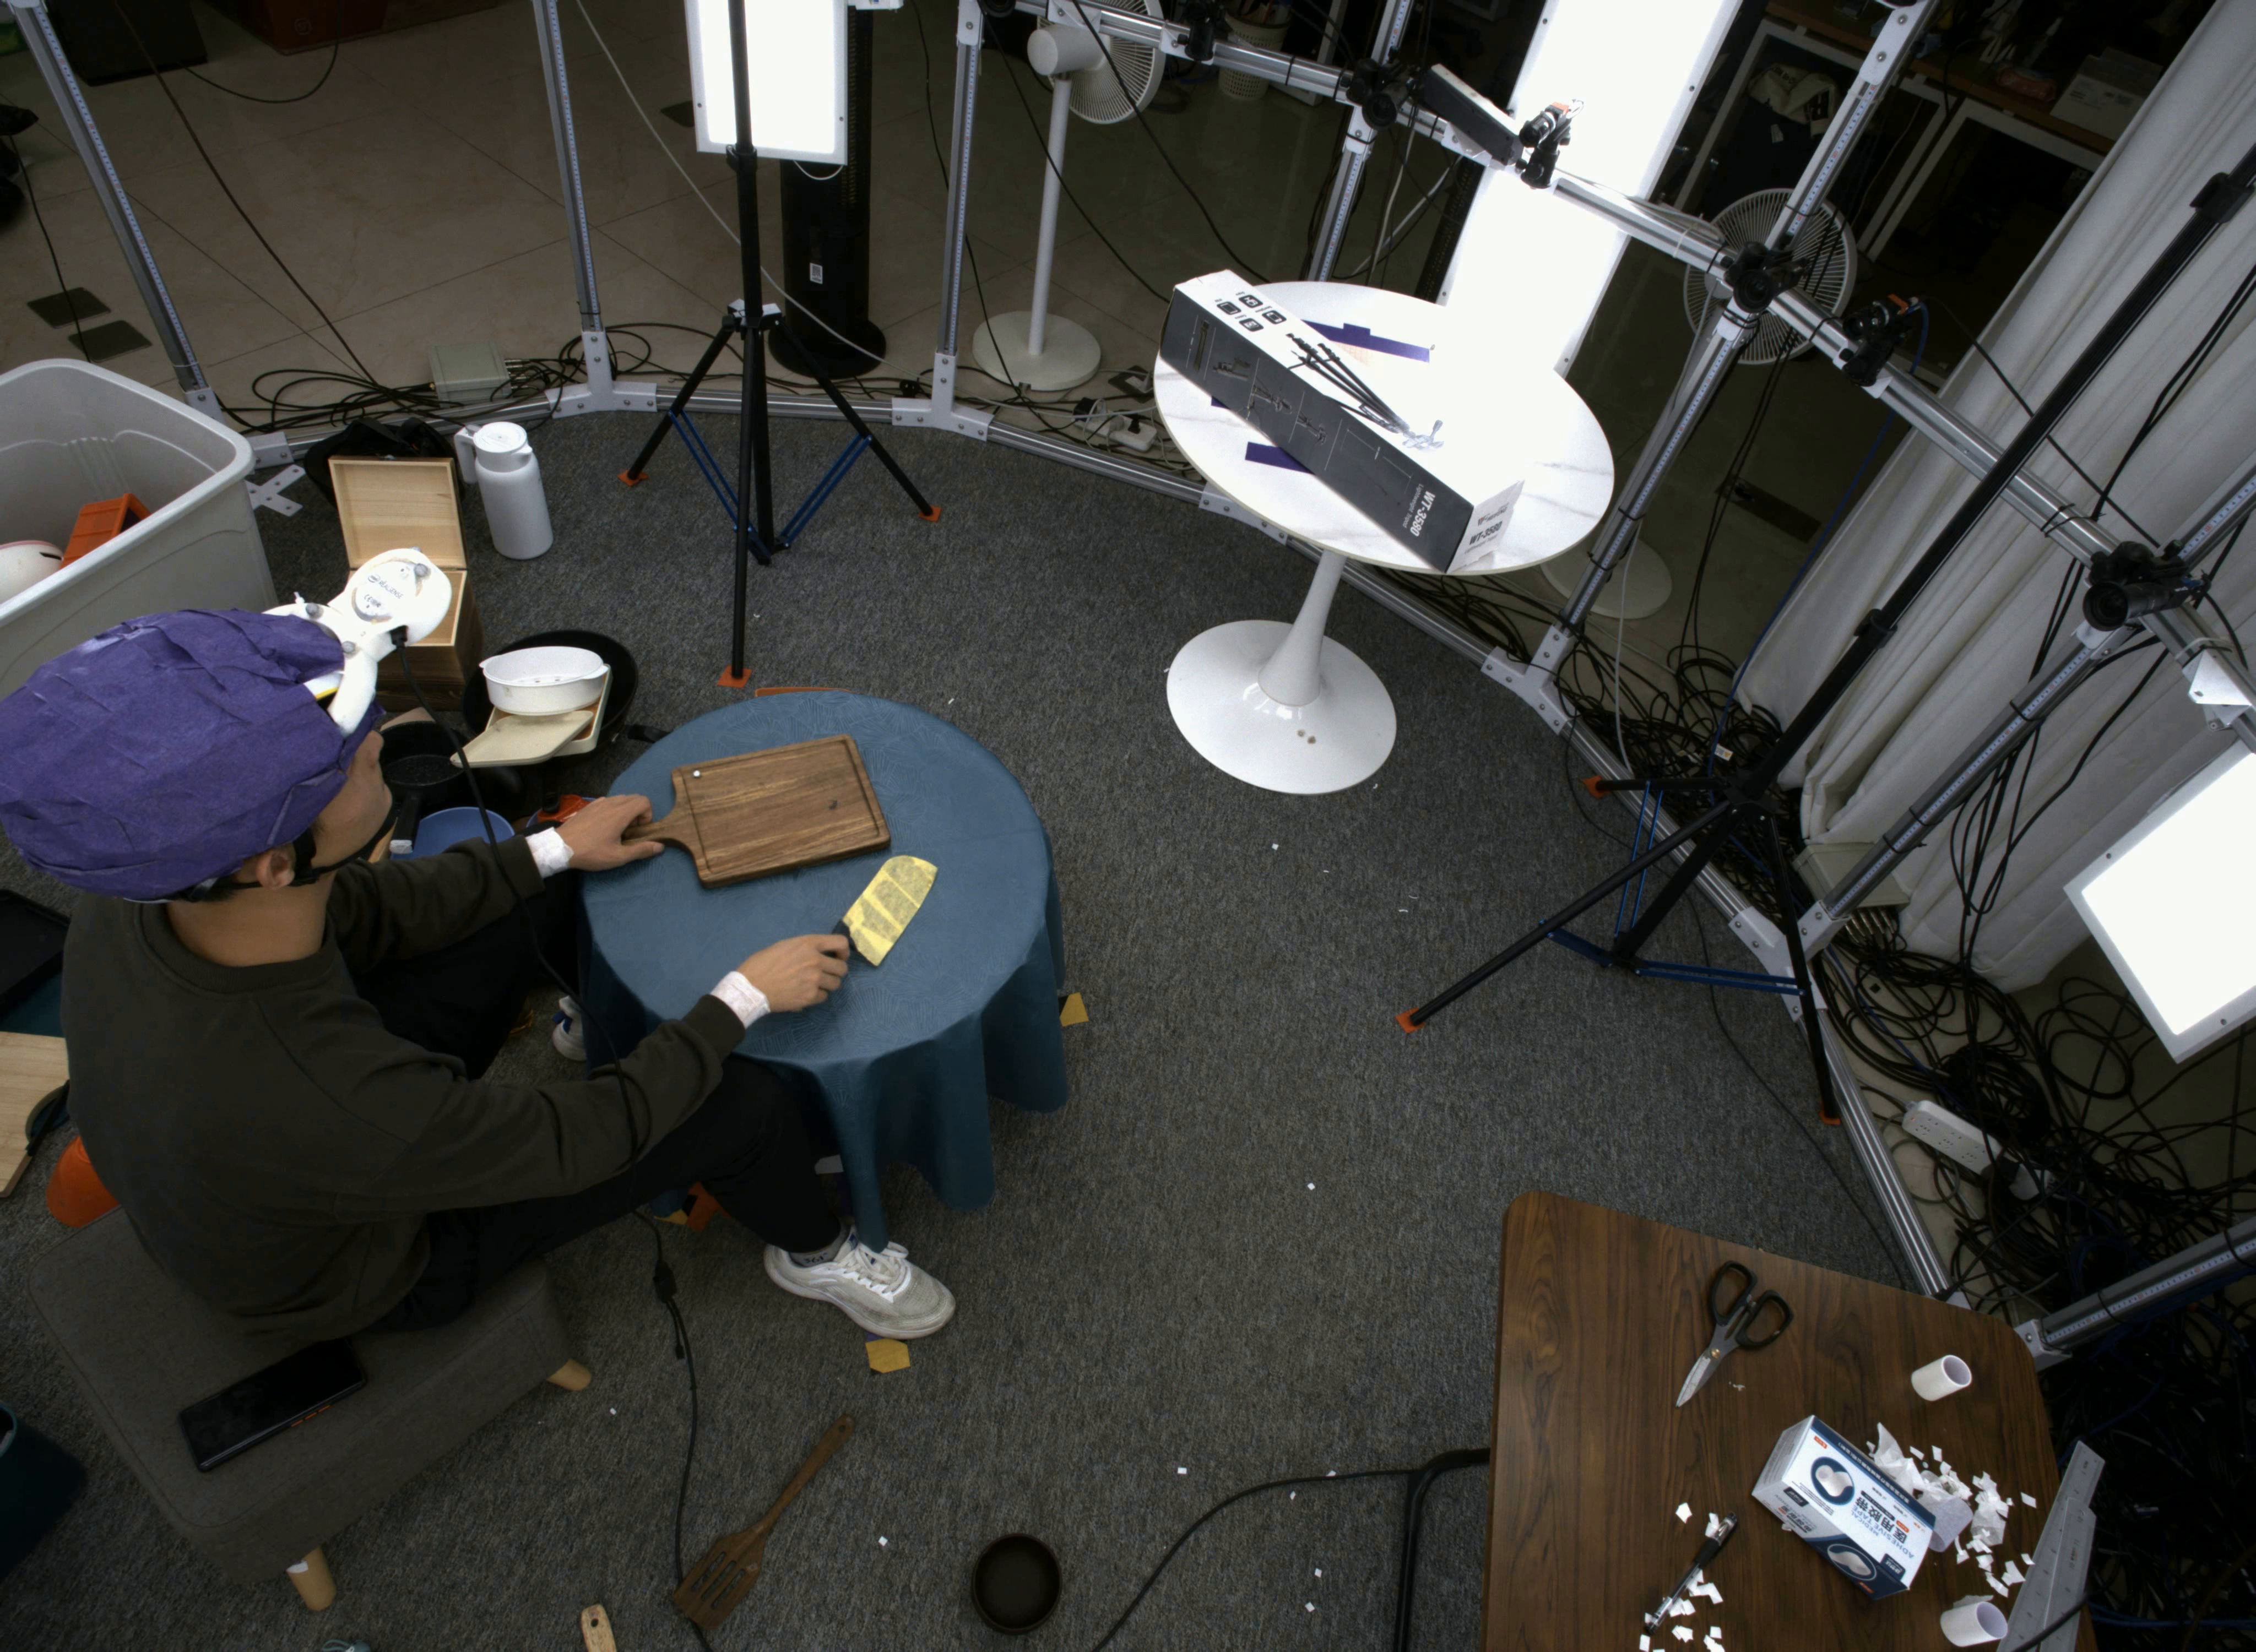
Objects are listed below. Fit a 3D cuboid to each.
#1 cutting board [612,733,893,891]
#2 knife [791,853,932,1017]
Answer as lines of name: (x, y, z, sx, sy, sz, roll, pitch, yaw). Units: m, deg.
cutting board: (-0.506, -0.015, 1.711, 0.354, 0.023, 0.196, -14, 58, -23)
knife: (-0.328, 0.134, 1.631, 0.082, 0.027, 0.288, 46, 49, -15)
